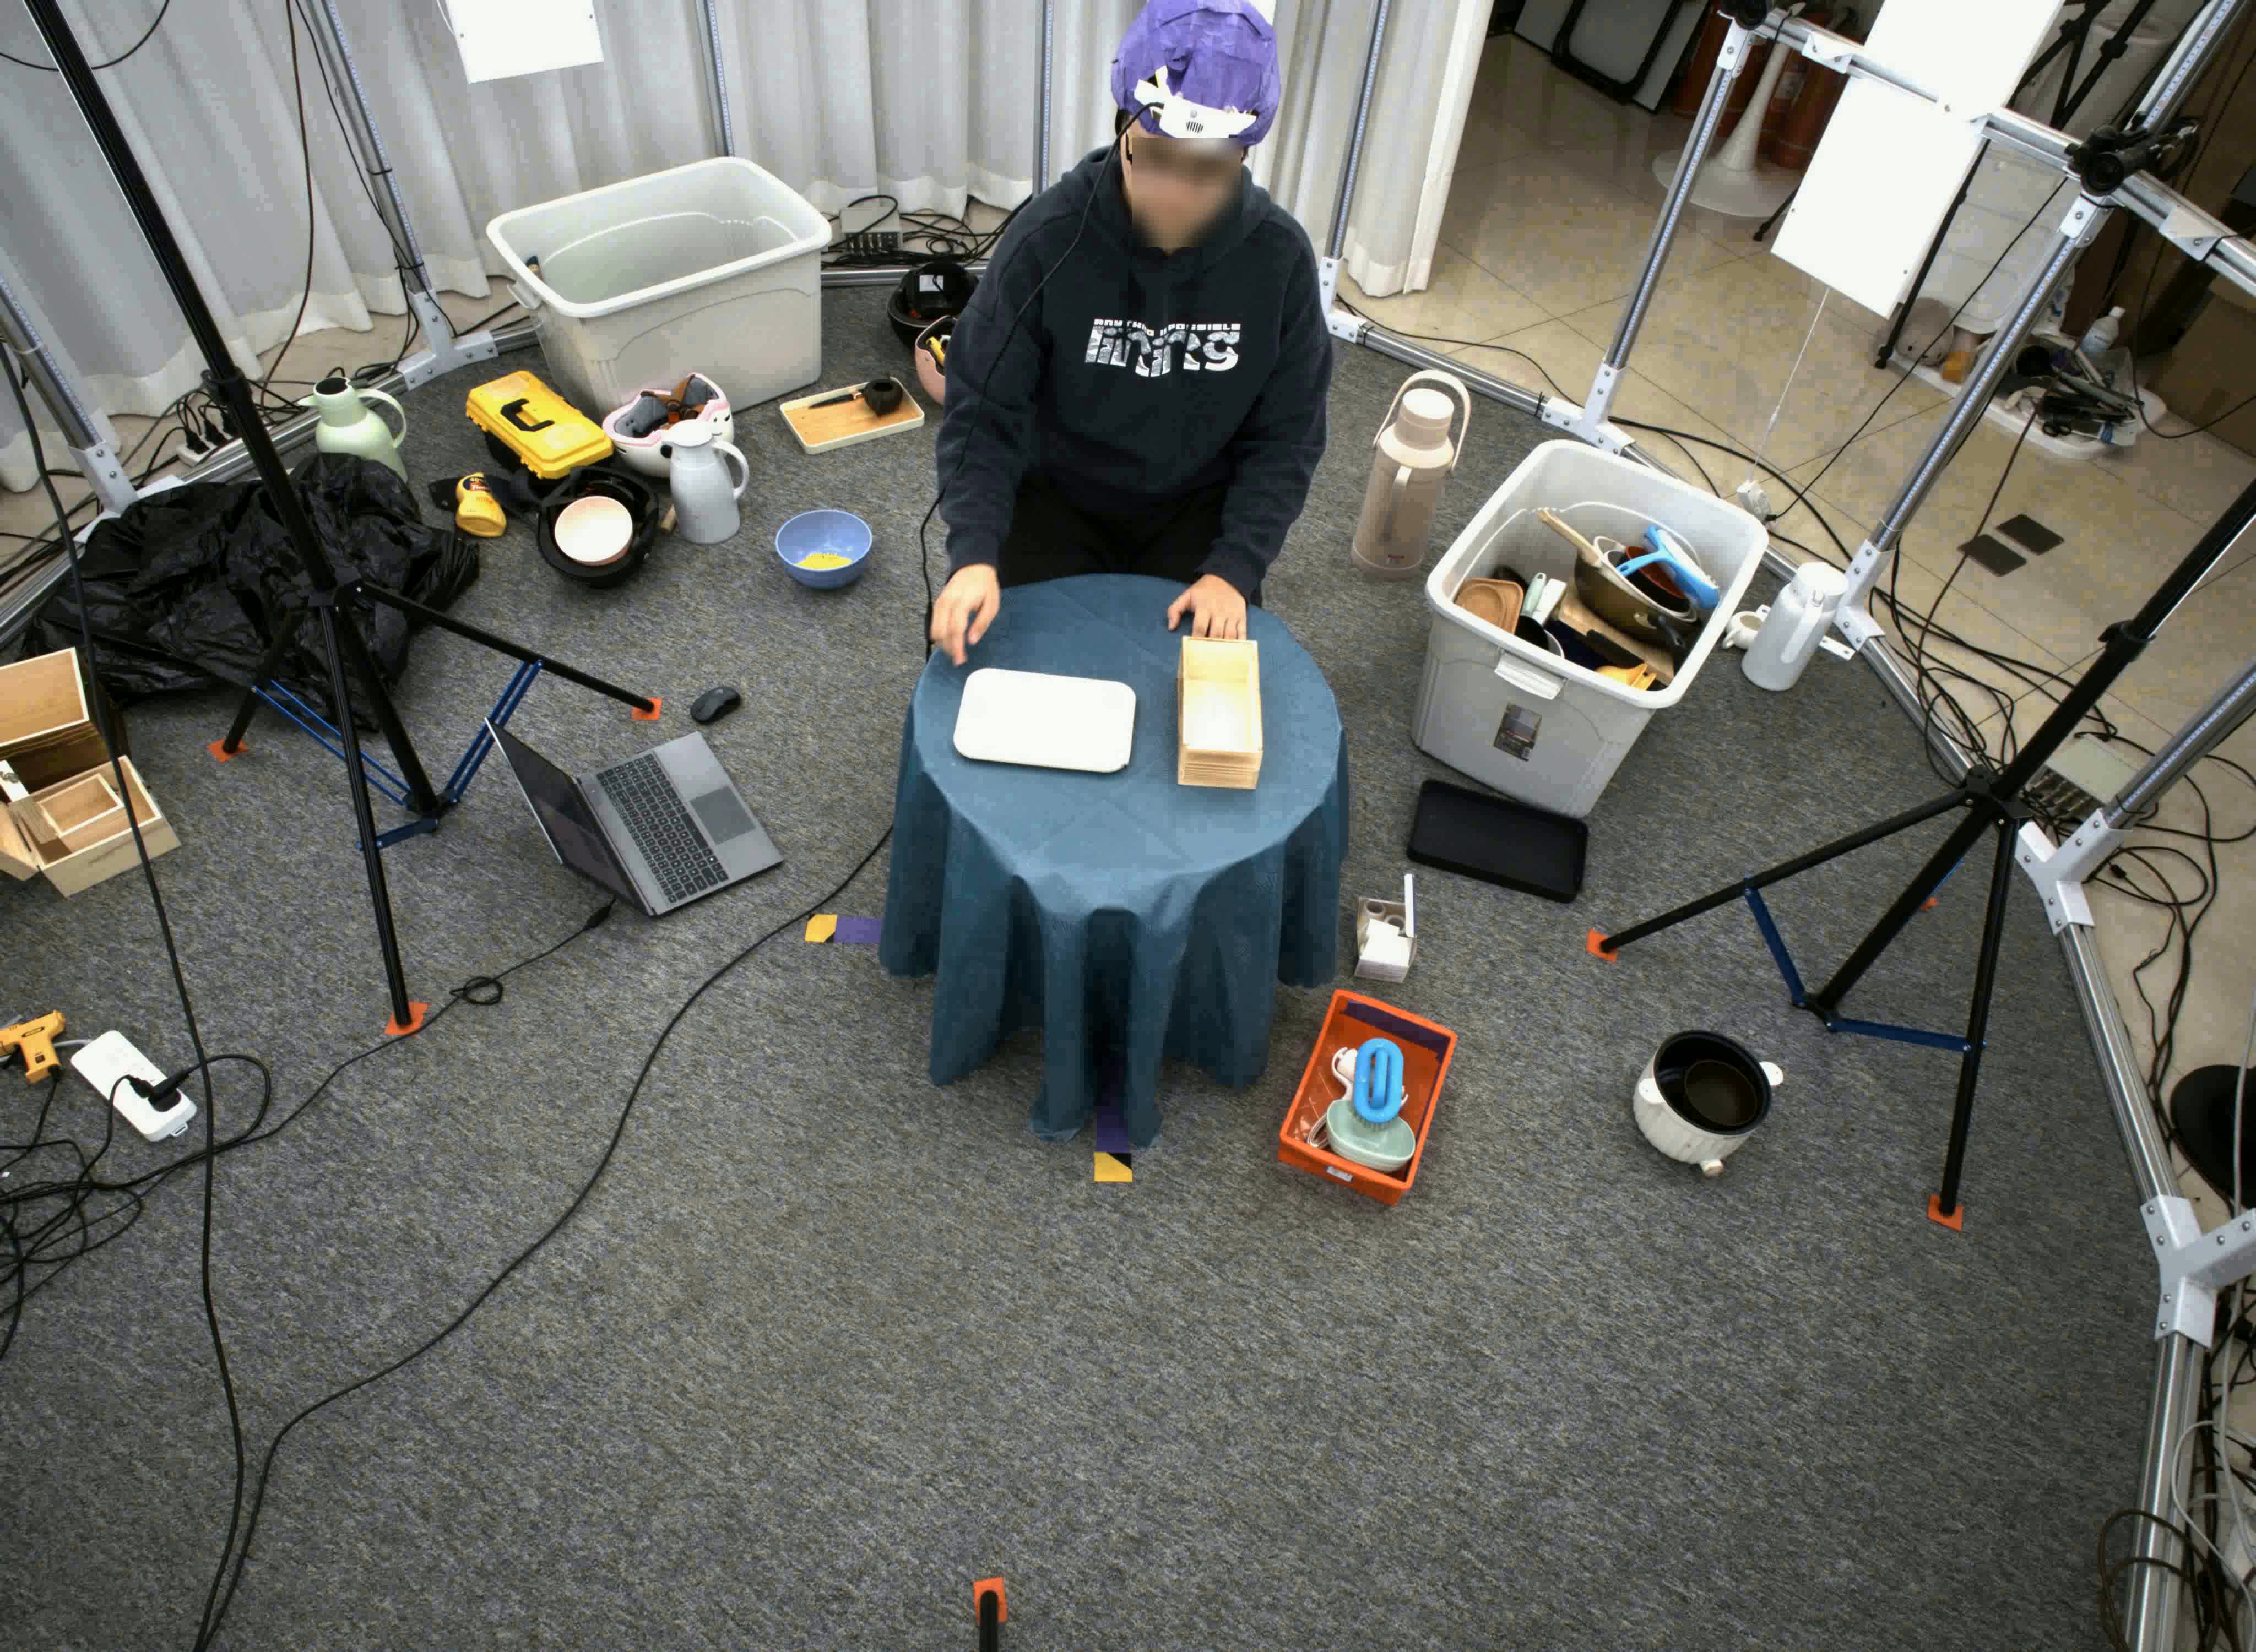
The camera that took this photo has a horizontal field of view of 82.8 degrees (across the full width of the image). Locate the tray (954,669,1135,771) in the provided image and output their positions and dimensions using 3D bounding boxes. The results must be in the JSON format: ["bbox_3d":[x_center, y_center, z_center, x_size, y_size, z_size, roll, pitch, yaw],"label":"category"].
[{"bbox_3d":[-0.112,-0.146,1.772,0.239,0.017,0.175,6,48,1],"label":"tray"}]

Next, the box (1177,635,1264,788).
[{"bbox_3d":[0.125,-0.159,1.762,0.107,0.078,0.217,3,49,-2],"label":"box"}]
